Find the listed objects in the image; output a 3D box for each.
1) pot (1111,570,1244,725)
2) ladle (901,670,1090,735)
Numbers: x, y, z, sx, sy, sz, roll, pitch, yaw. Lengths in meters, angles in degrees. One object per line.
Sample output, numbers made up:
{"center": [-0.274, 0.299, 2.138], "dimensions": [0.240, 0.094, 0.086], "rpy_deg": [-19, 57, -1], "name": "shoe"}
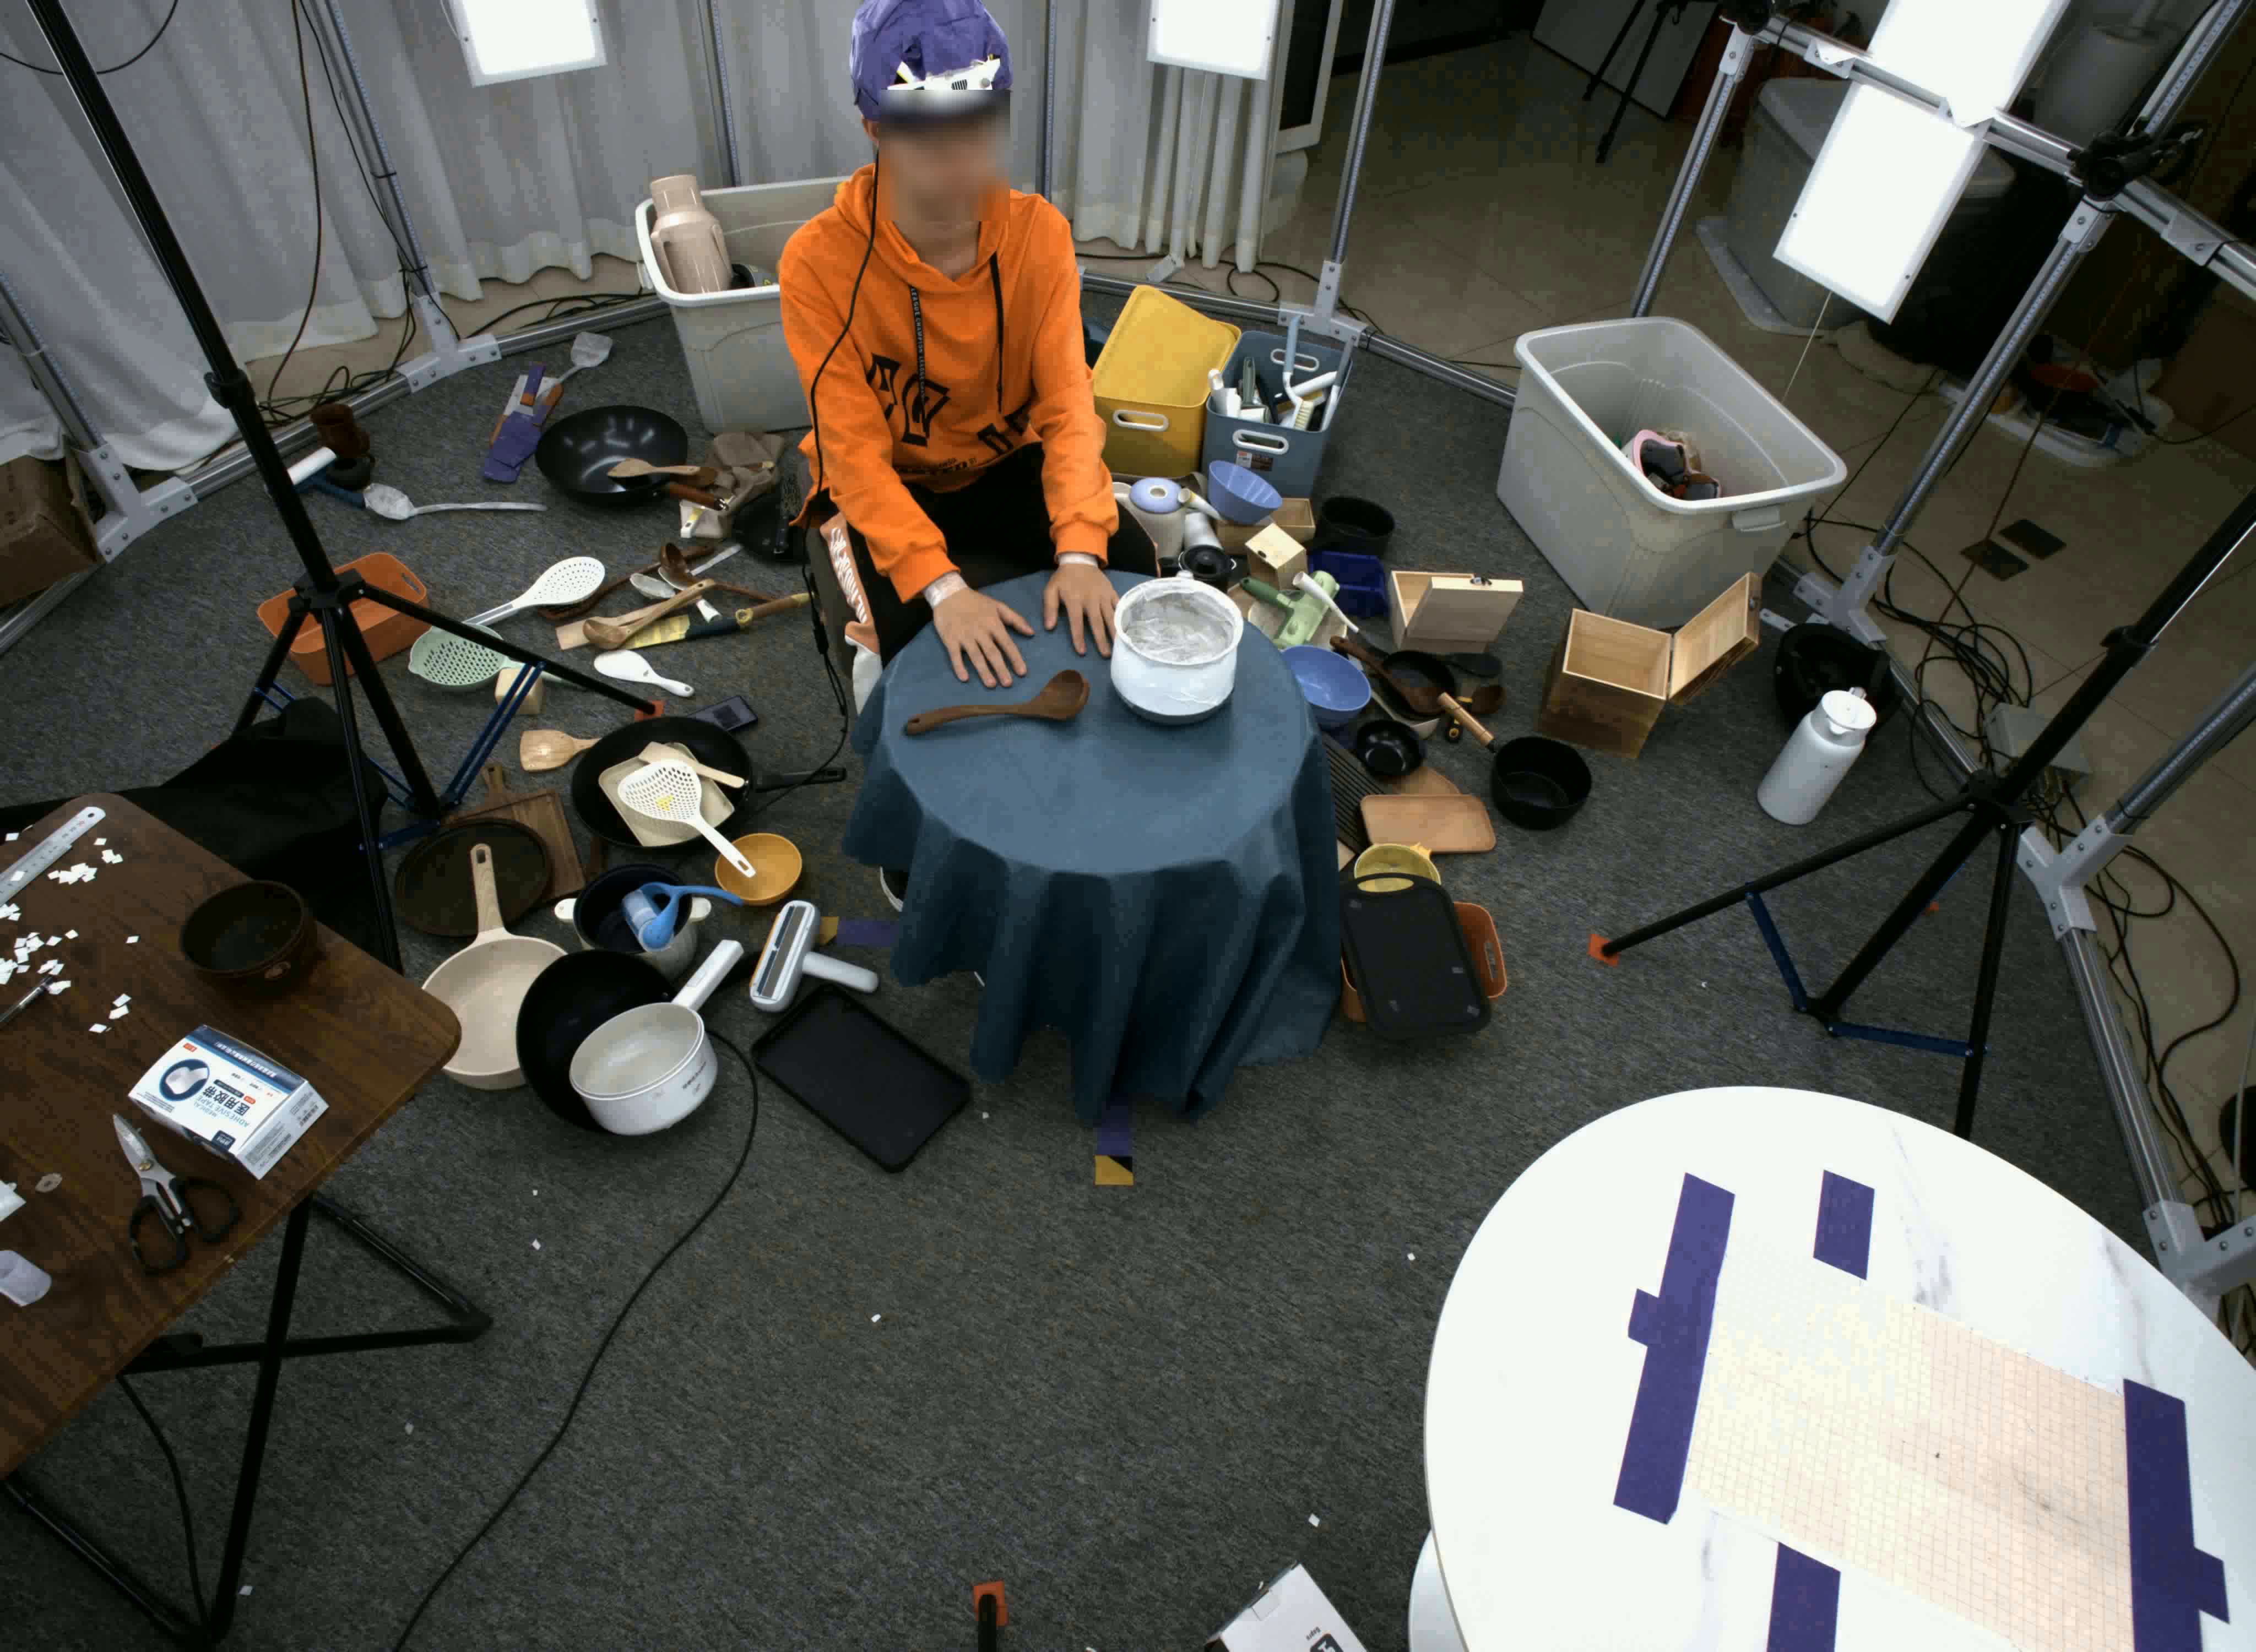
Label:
{"center": [0.068, -0.262, 1.812], "dimensions": [0.178, 0.133, 0.239], "rpy_deg": [6, 49, 1], "name": "pot"}
{"center": [-0.181, -0.167, 1.760], "dimensions": [0.260, 0.063, 0.078], "rpy_deg": [-7, 48, -10], "name": "ladle"}
